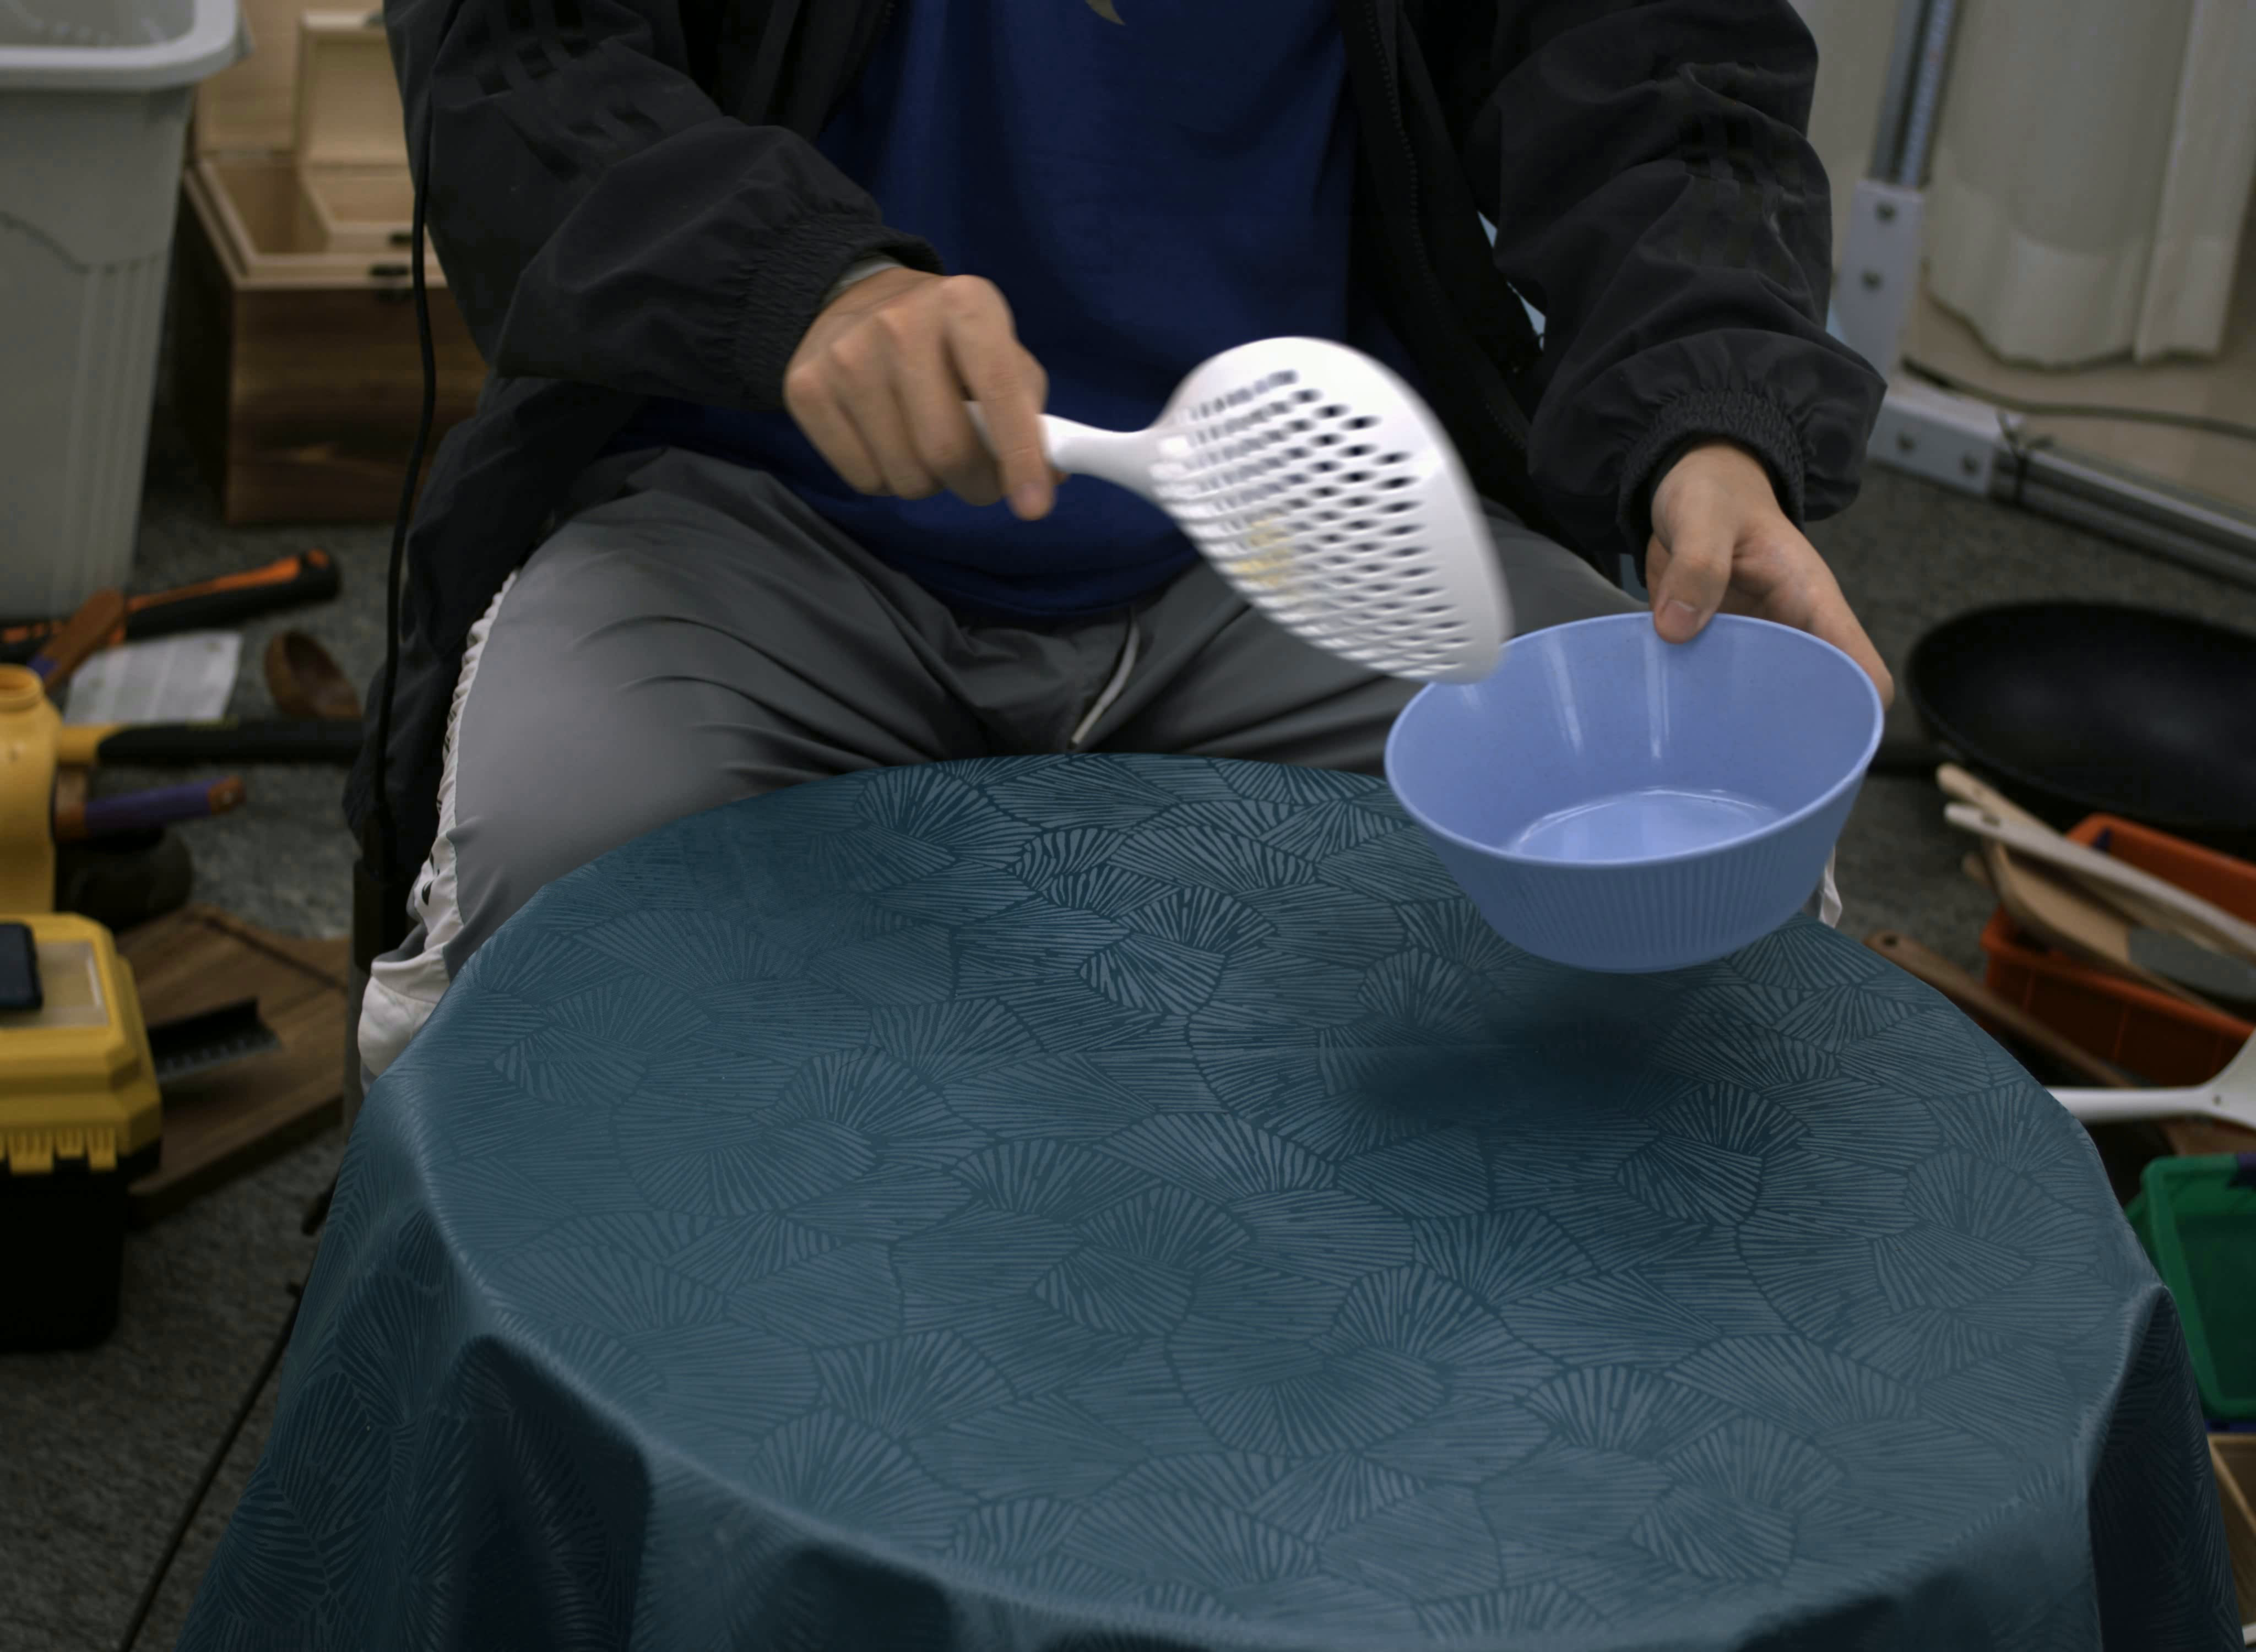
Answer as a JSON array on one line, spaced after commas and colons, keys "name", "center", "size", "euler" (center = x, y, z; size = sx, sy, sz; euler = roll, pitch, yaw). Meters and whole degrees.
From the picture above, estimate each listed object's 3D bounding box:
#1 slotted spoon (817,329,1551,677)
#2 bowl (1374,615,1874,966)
[{"name": "slotted spoon", "center": [0.010, -0.122, 1.870], "size": [0.050, 0.136, 0.350], "euler": [-37, 33, -25]}, {"name": "bowl", "center": [0.178, -0.007, 1.884], "size": [0.176, 0.070, 0.177], "euler": [-8, 29, 4]}]
